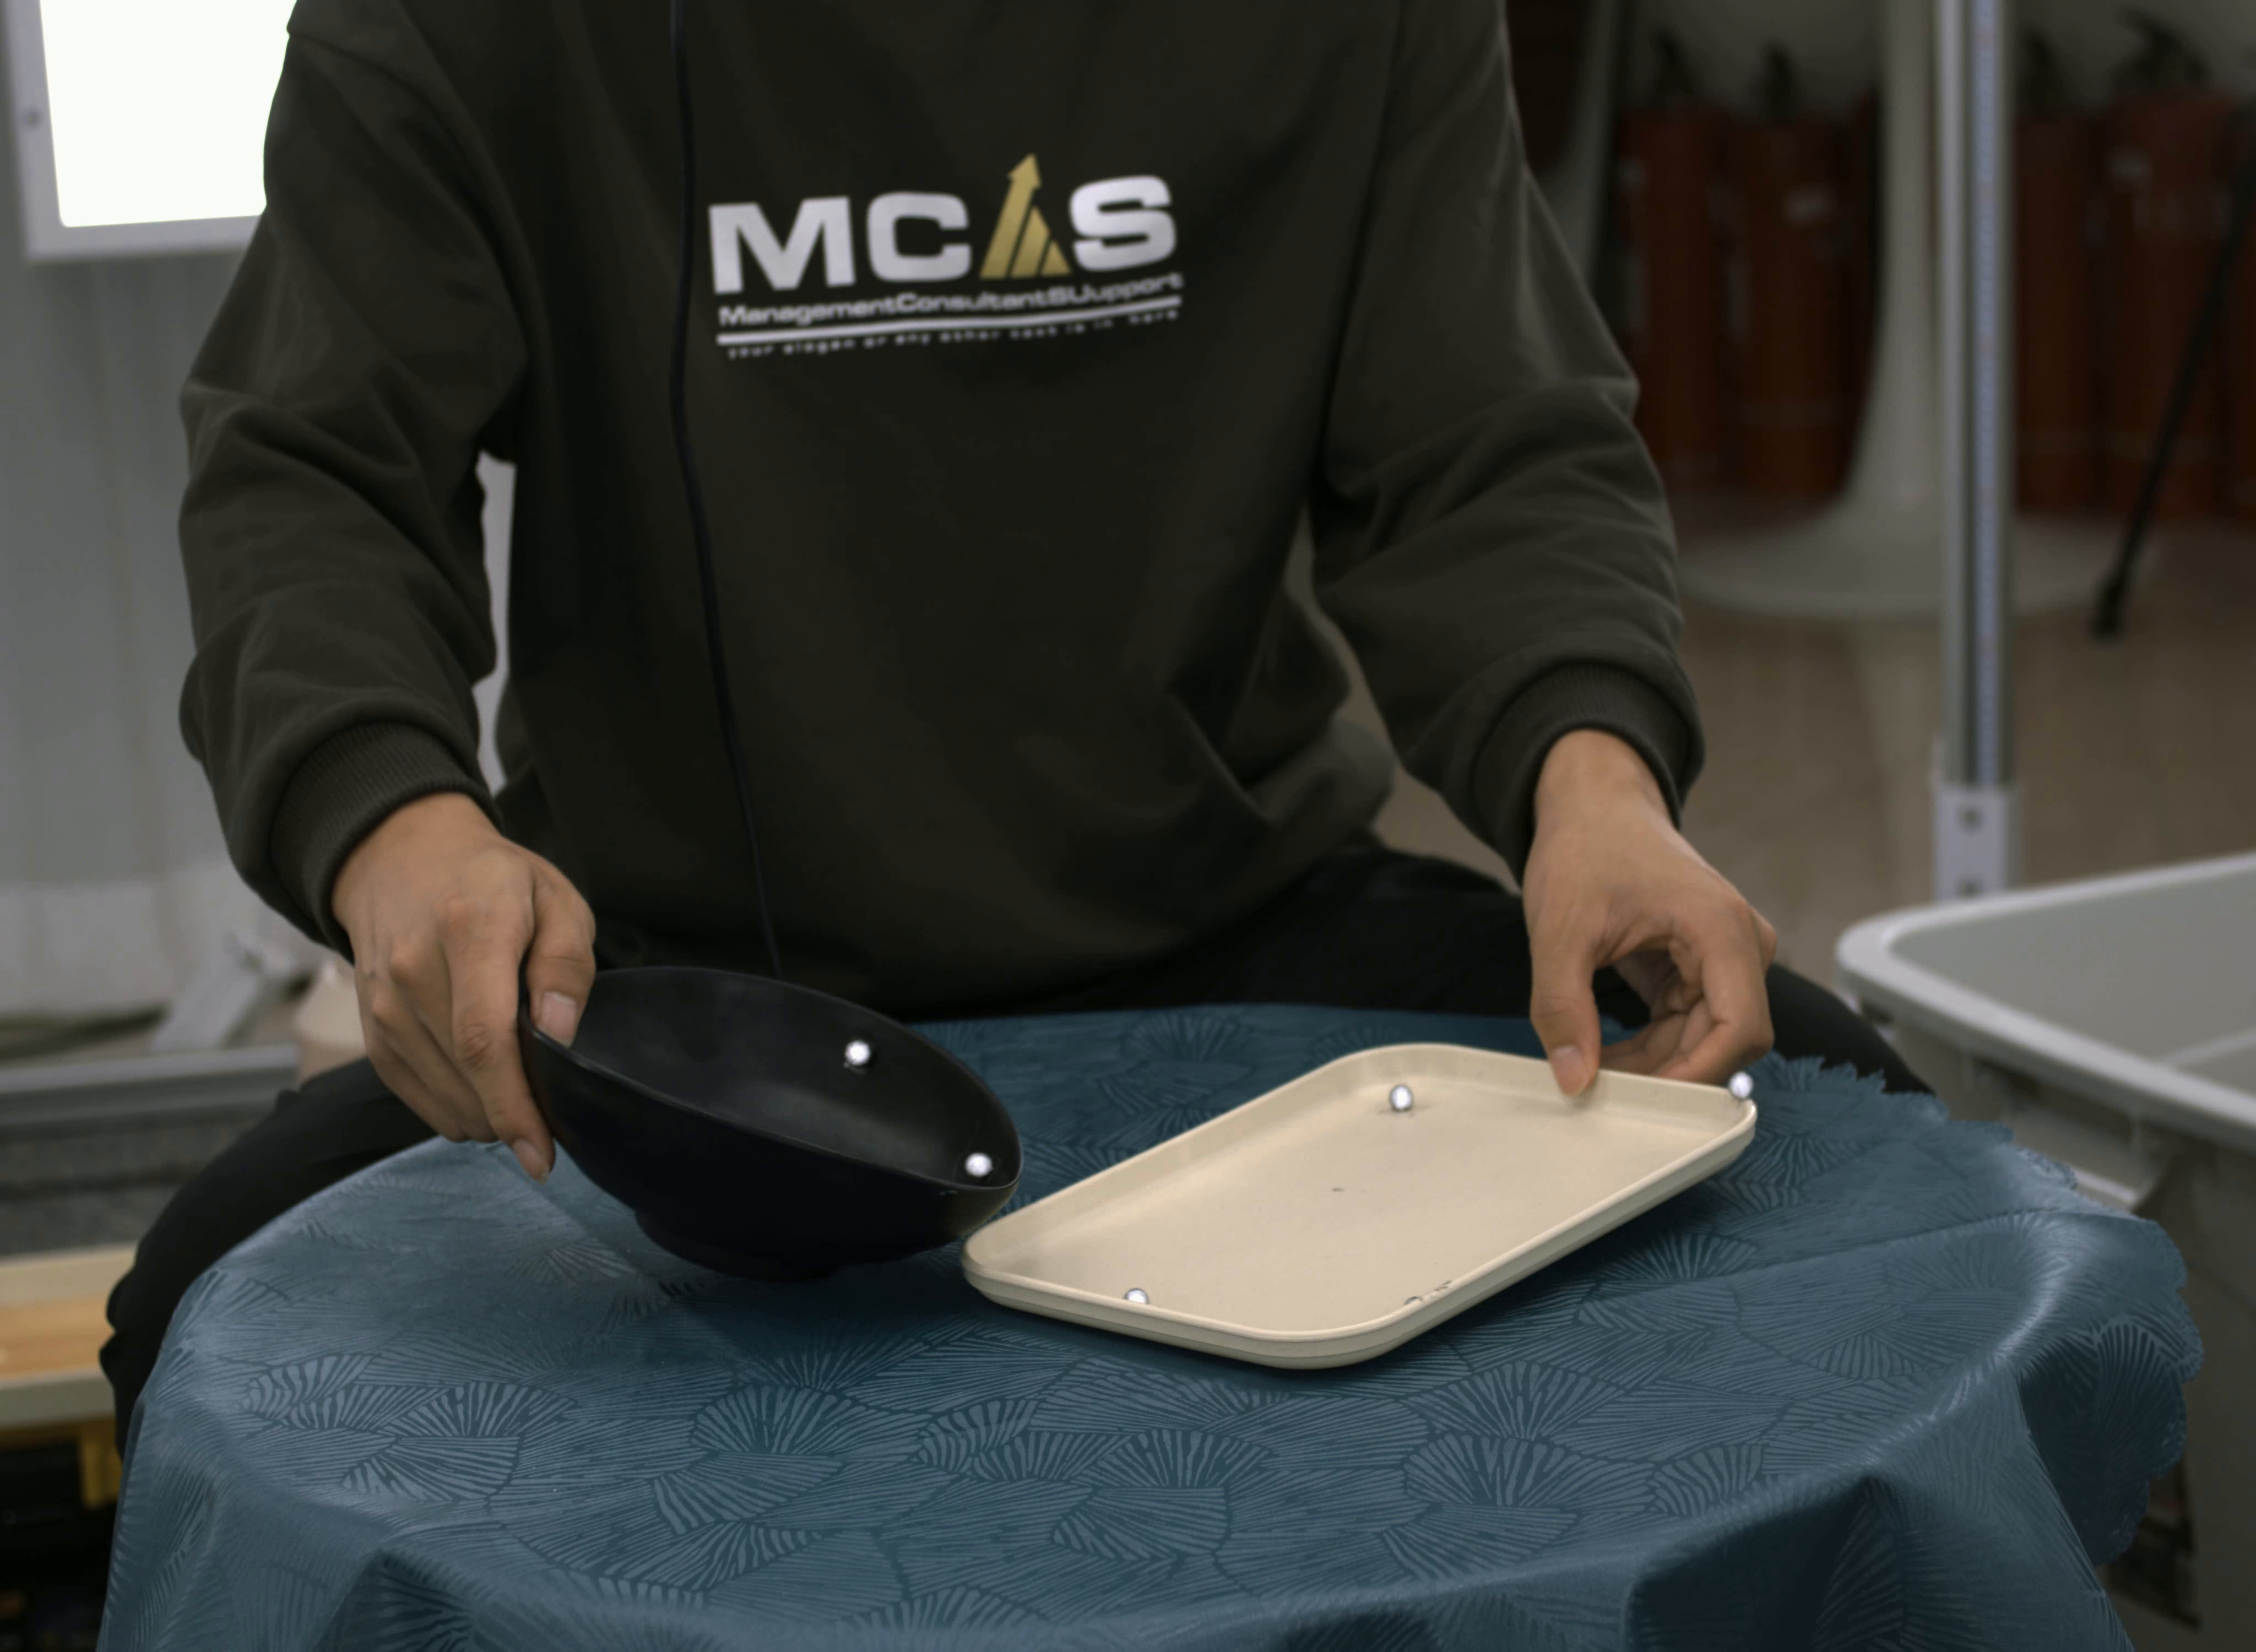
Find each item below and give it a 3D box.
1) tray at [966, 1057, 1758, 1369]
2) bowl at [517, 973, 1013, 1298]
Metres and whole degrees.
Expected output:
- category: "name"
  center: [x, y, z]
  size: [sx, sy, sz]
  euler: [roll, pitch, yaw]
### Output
- category: "tray"
  center: [0.077, 0.121, 1.699]
  size: [0.173, 0.017, 0.235]
  euler: [5, 19, 42]
- category: "bowl"
  center: [-0.117, 0.103, 1.696]
  size: [0.170, 0.067, 0.136]
  euler: [20, 17, 14]
